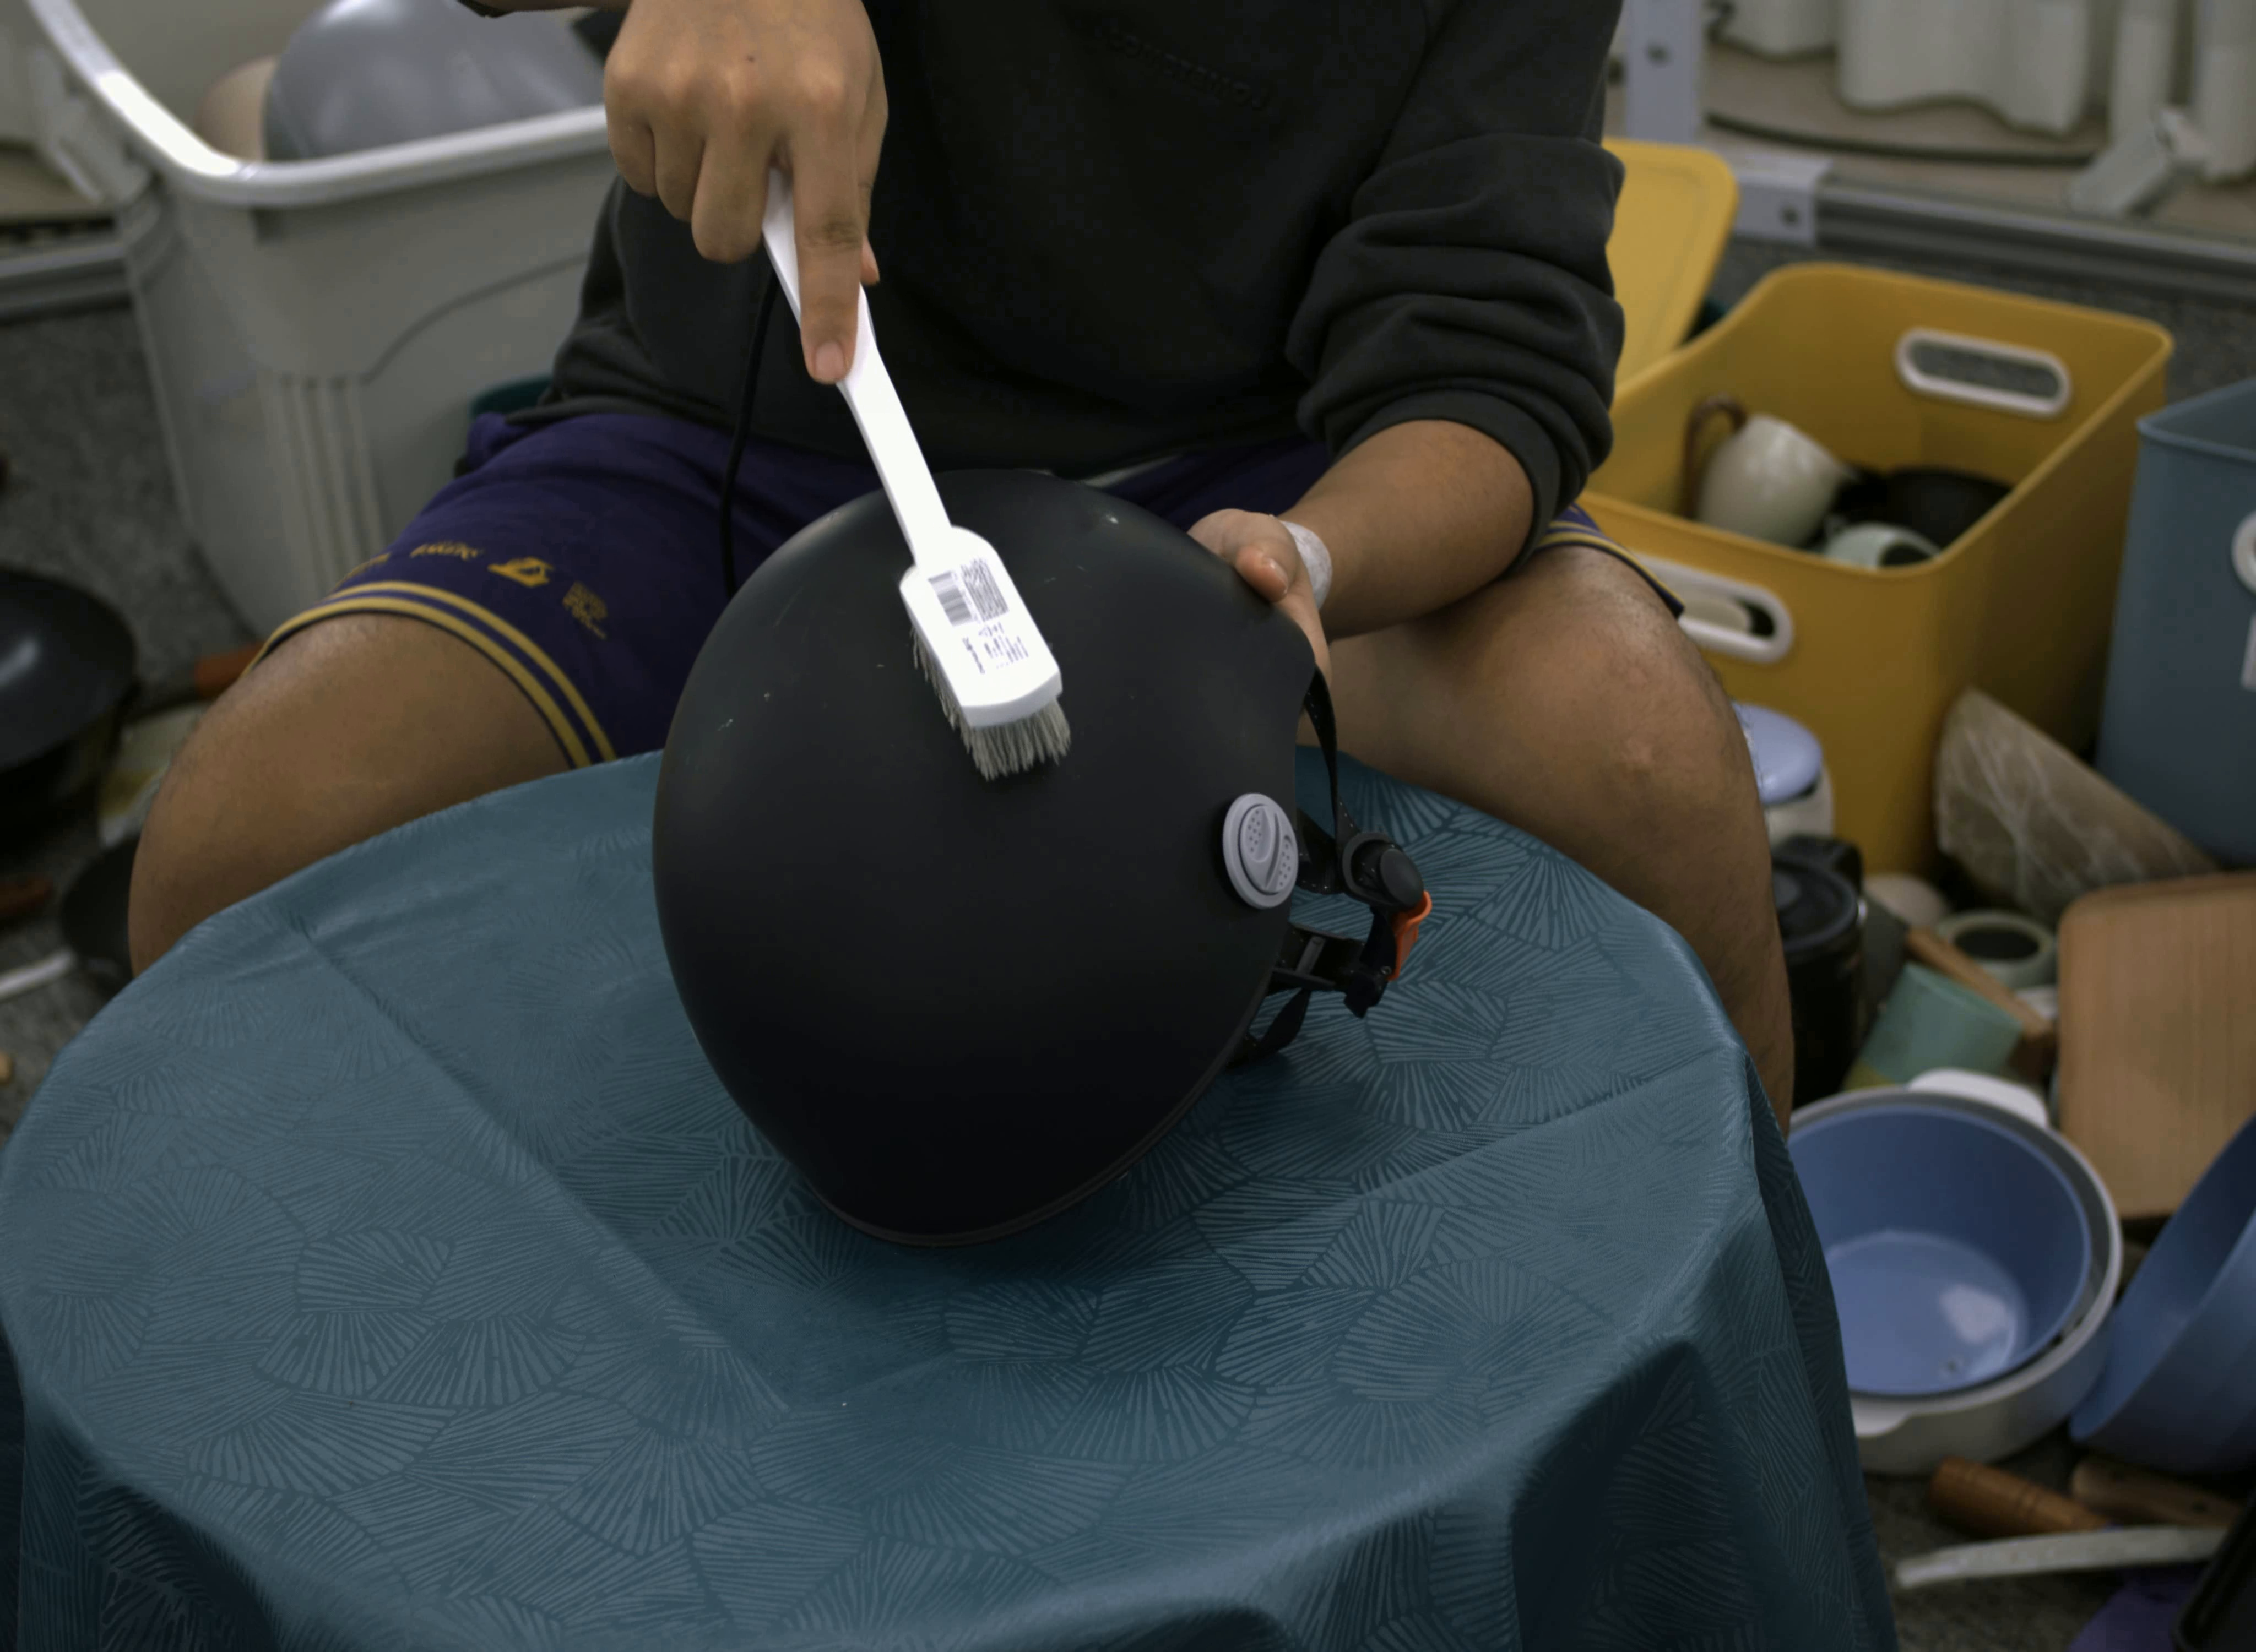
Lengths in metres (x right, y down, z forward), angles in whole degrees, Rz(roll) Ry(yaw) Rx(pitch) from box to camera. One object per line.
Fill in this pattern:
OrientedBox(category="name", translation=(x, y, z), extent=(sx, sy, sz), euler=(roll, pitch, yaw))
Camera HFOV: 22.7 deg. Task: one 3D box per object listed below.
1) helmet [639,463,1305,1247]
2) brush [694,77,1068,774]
OrientedBox(category="helmet", translation=(-0.065, -0.012, 1.857), extent=(0.227, 0.165, 0.279), euler=(-19, 40, 31))
OrientedBox(category="brush", translation=(-0.081, -0.127, 1.783), extent=(0.034, 0.049, 0.246), euler=(-23, 71, -11))
